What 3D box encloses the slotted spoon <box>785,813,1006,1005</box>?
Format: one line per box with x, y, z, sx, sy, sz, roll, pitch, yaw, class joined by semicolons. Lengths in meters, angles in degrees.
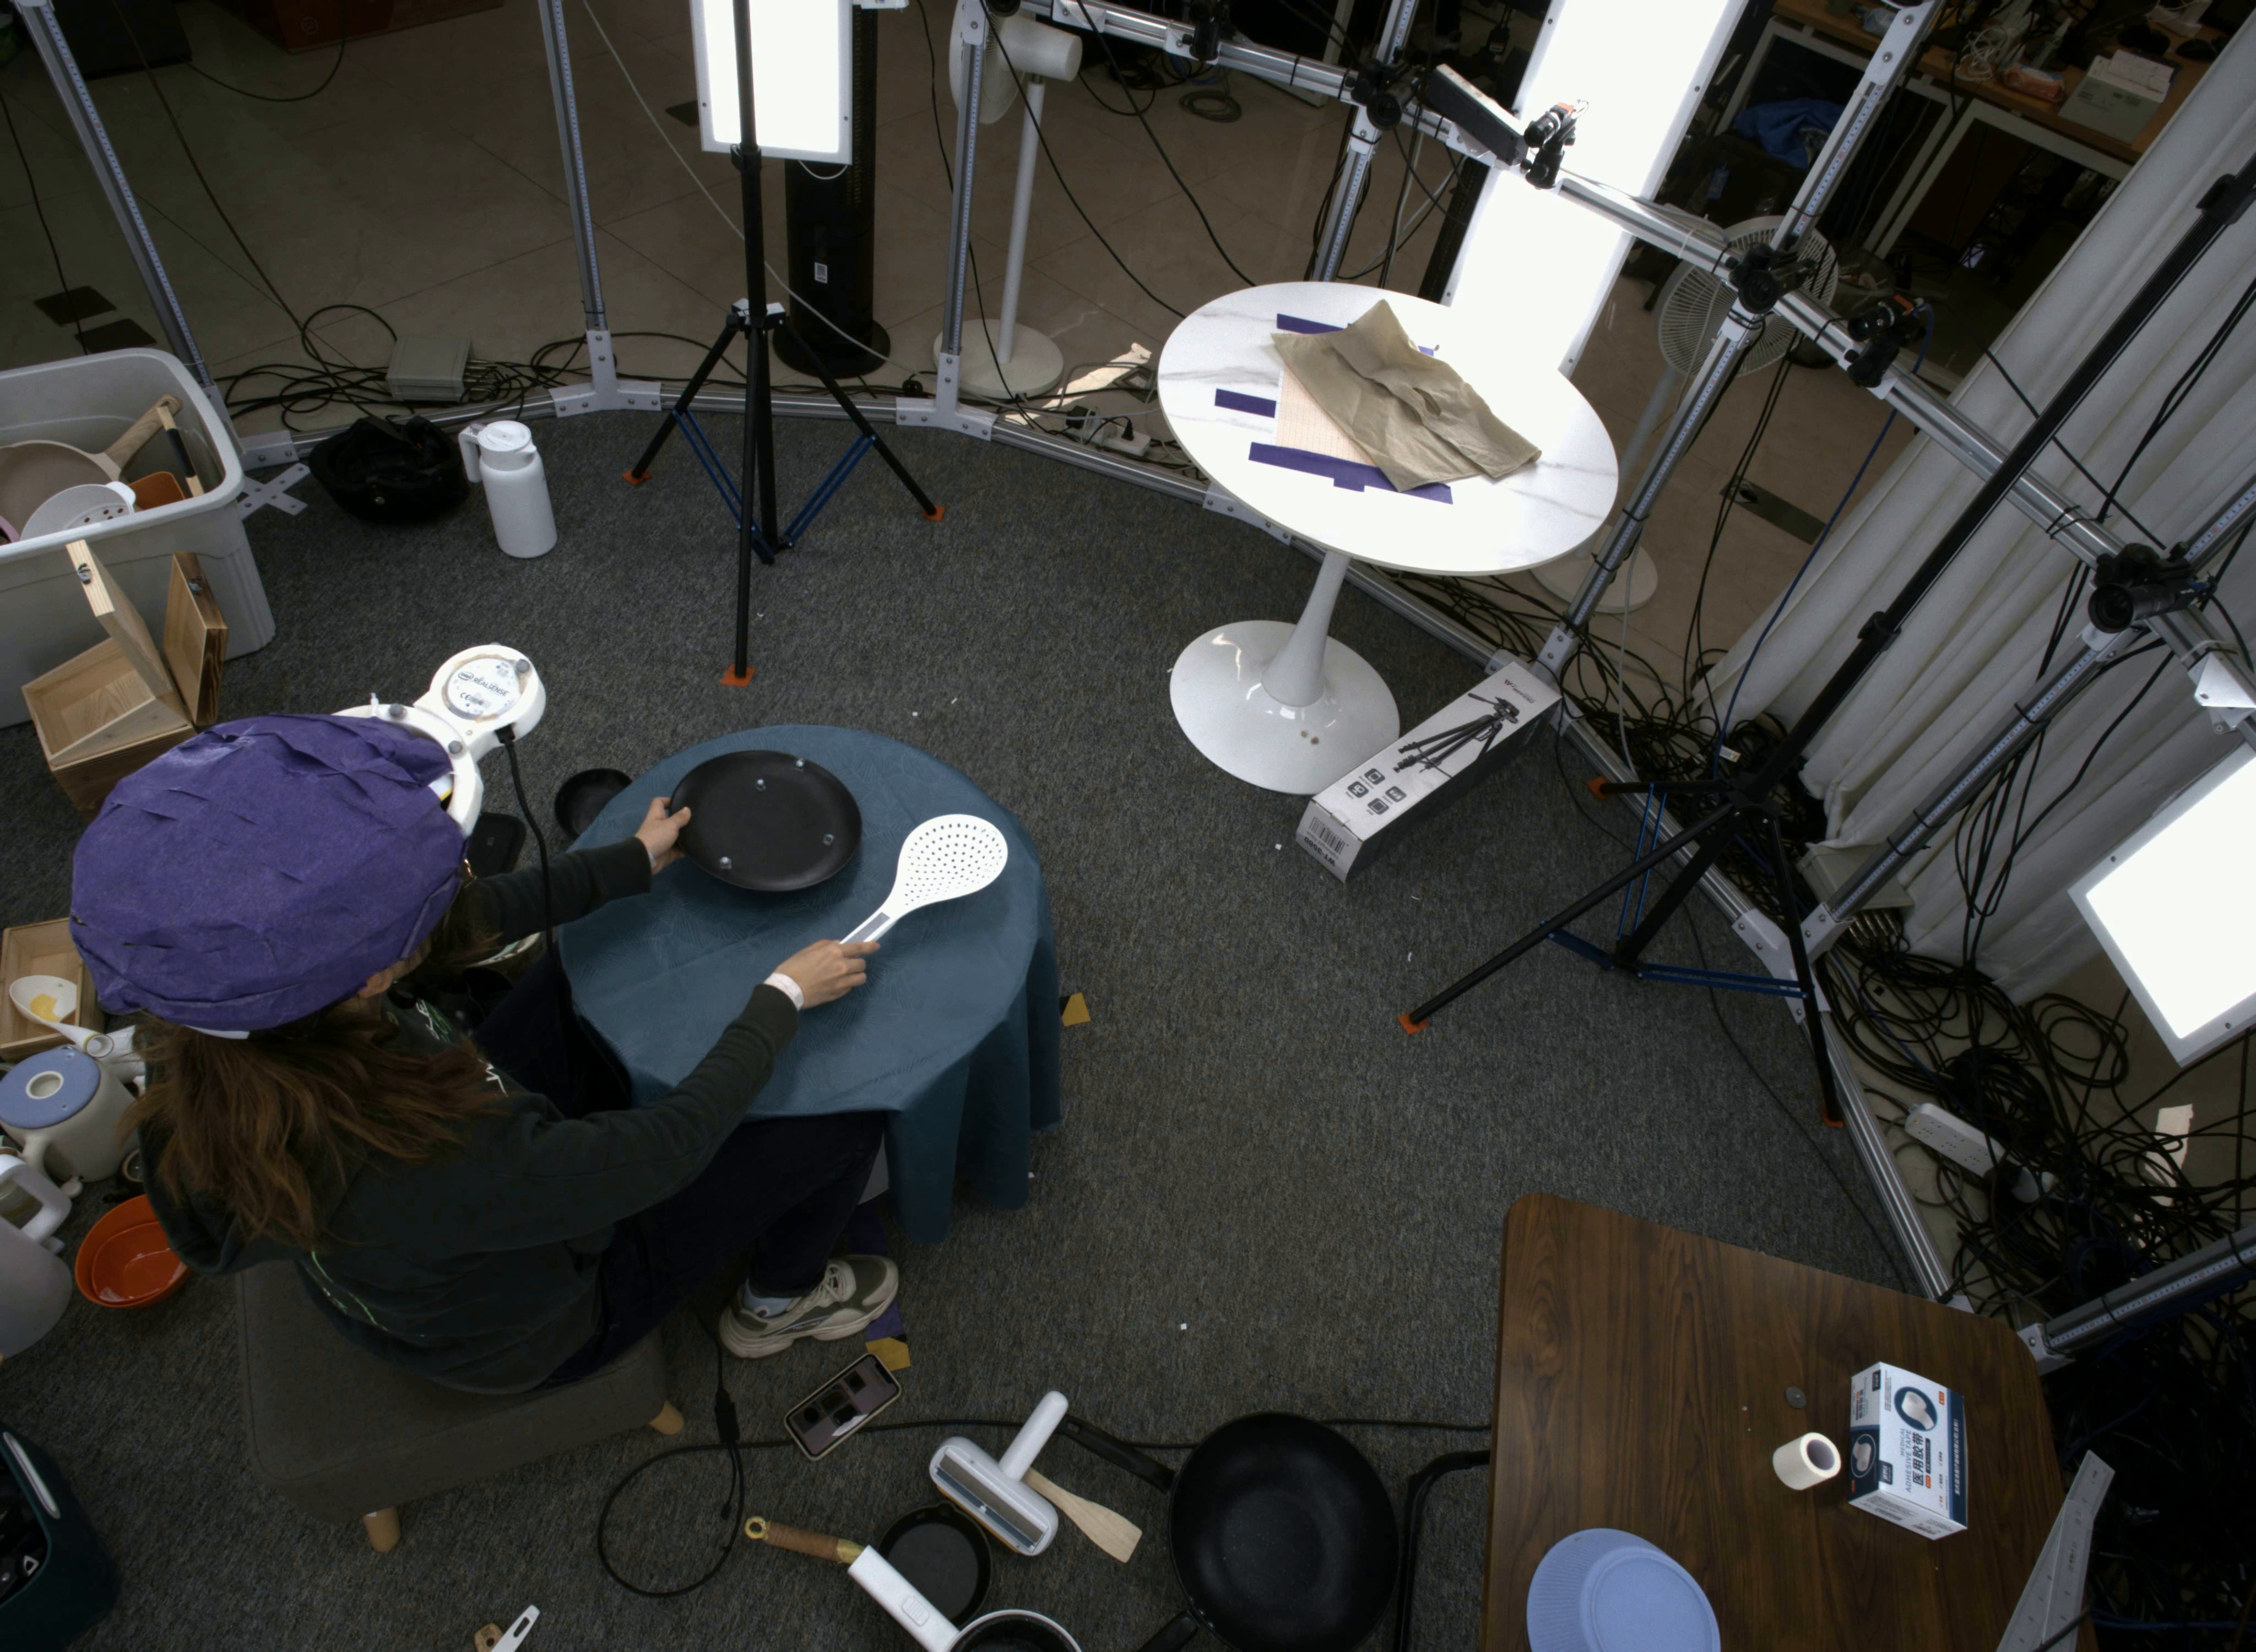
-0.291;0.101;1.627;0.132;0.047;0.350;31;50;22;slotted spoon

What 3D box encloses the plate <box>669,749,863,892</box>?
-0.465;-0.006;1.668;0.245;0.024;0.239;14;46;-13;plate
